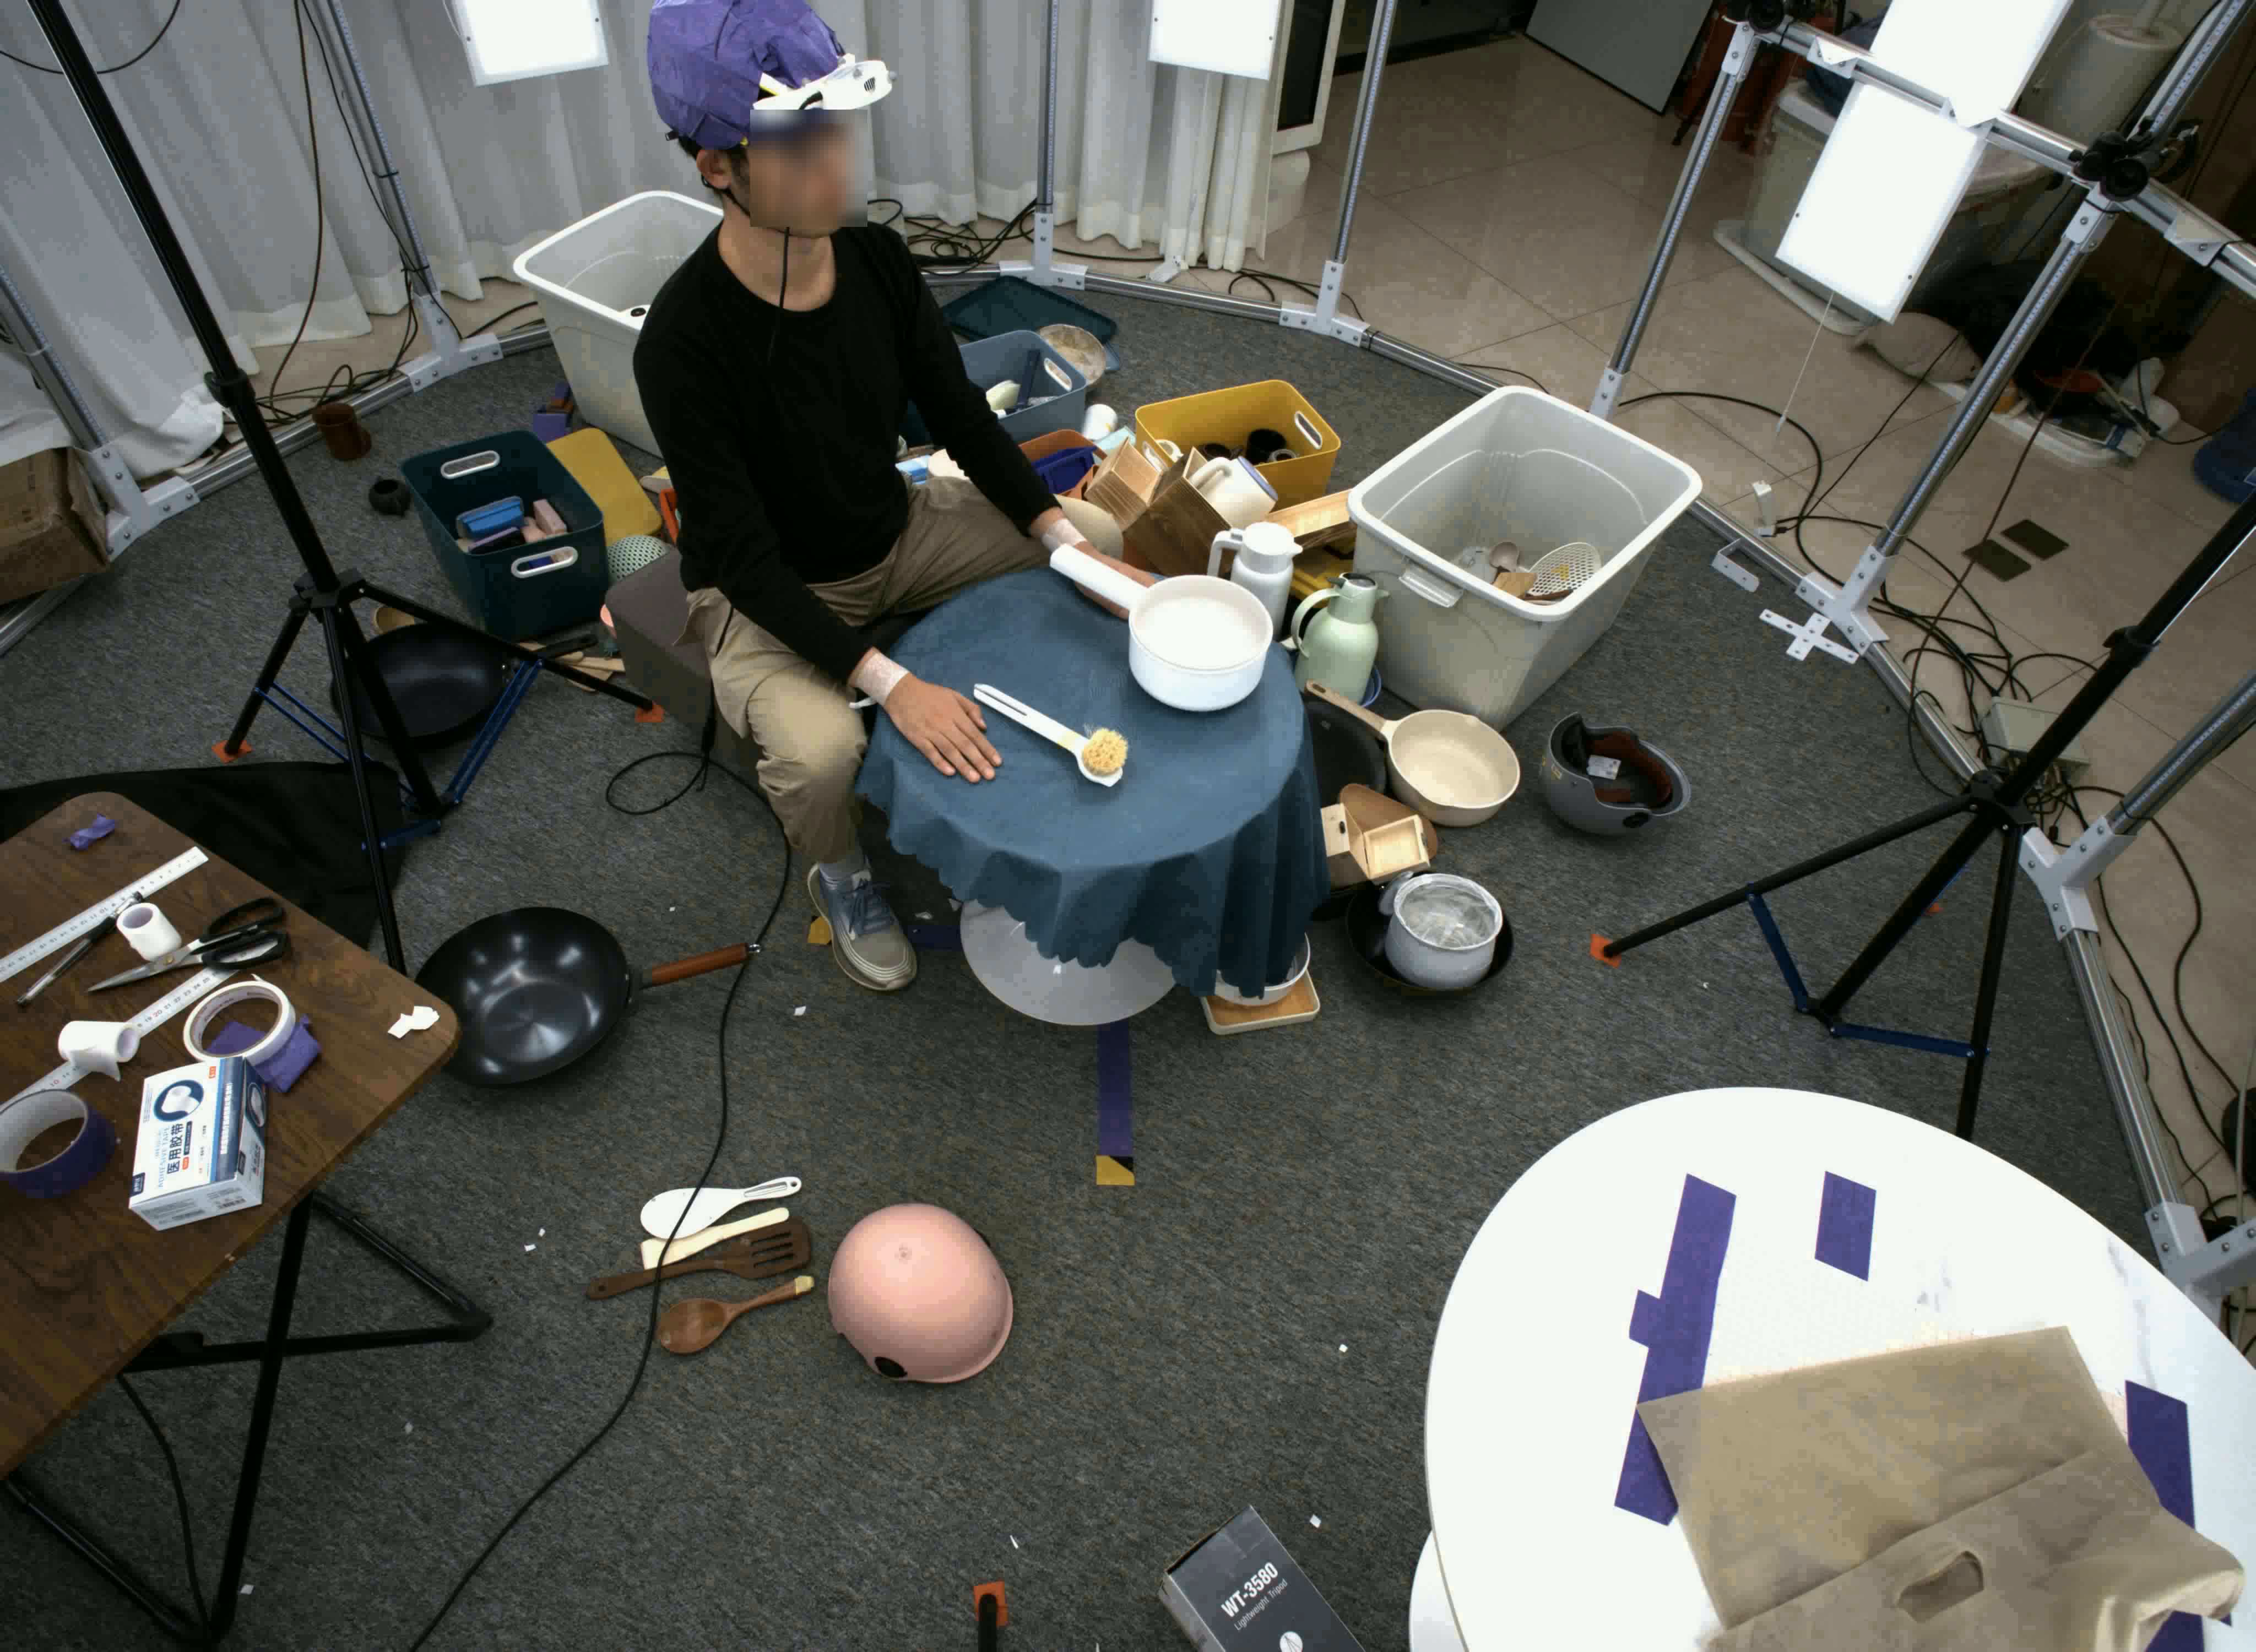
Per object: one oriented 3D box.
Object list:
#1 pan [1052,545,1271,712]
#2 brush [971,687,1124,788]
[{"bbox_3d":[0.037,-0.292,1.865,0.359,0.099,0.204,31,55,22],"label":"pan"},{"bbox_3d":[-0.116,-0.140,1.749,0.270,0.055,0.069,34,51,25],"label":"brush"}]
